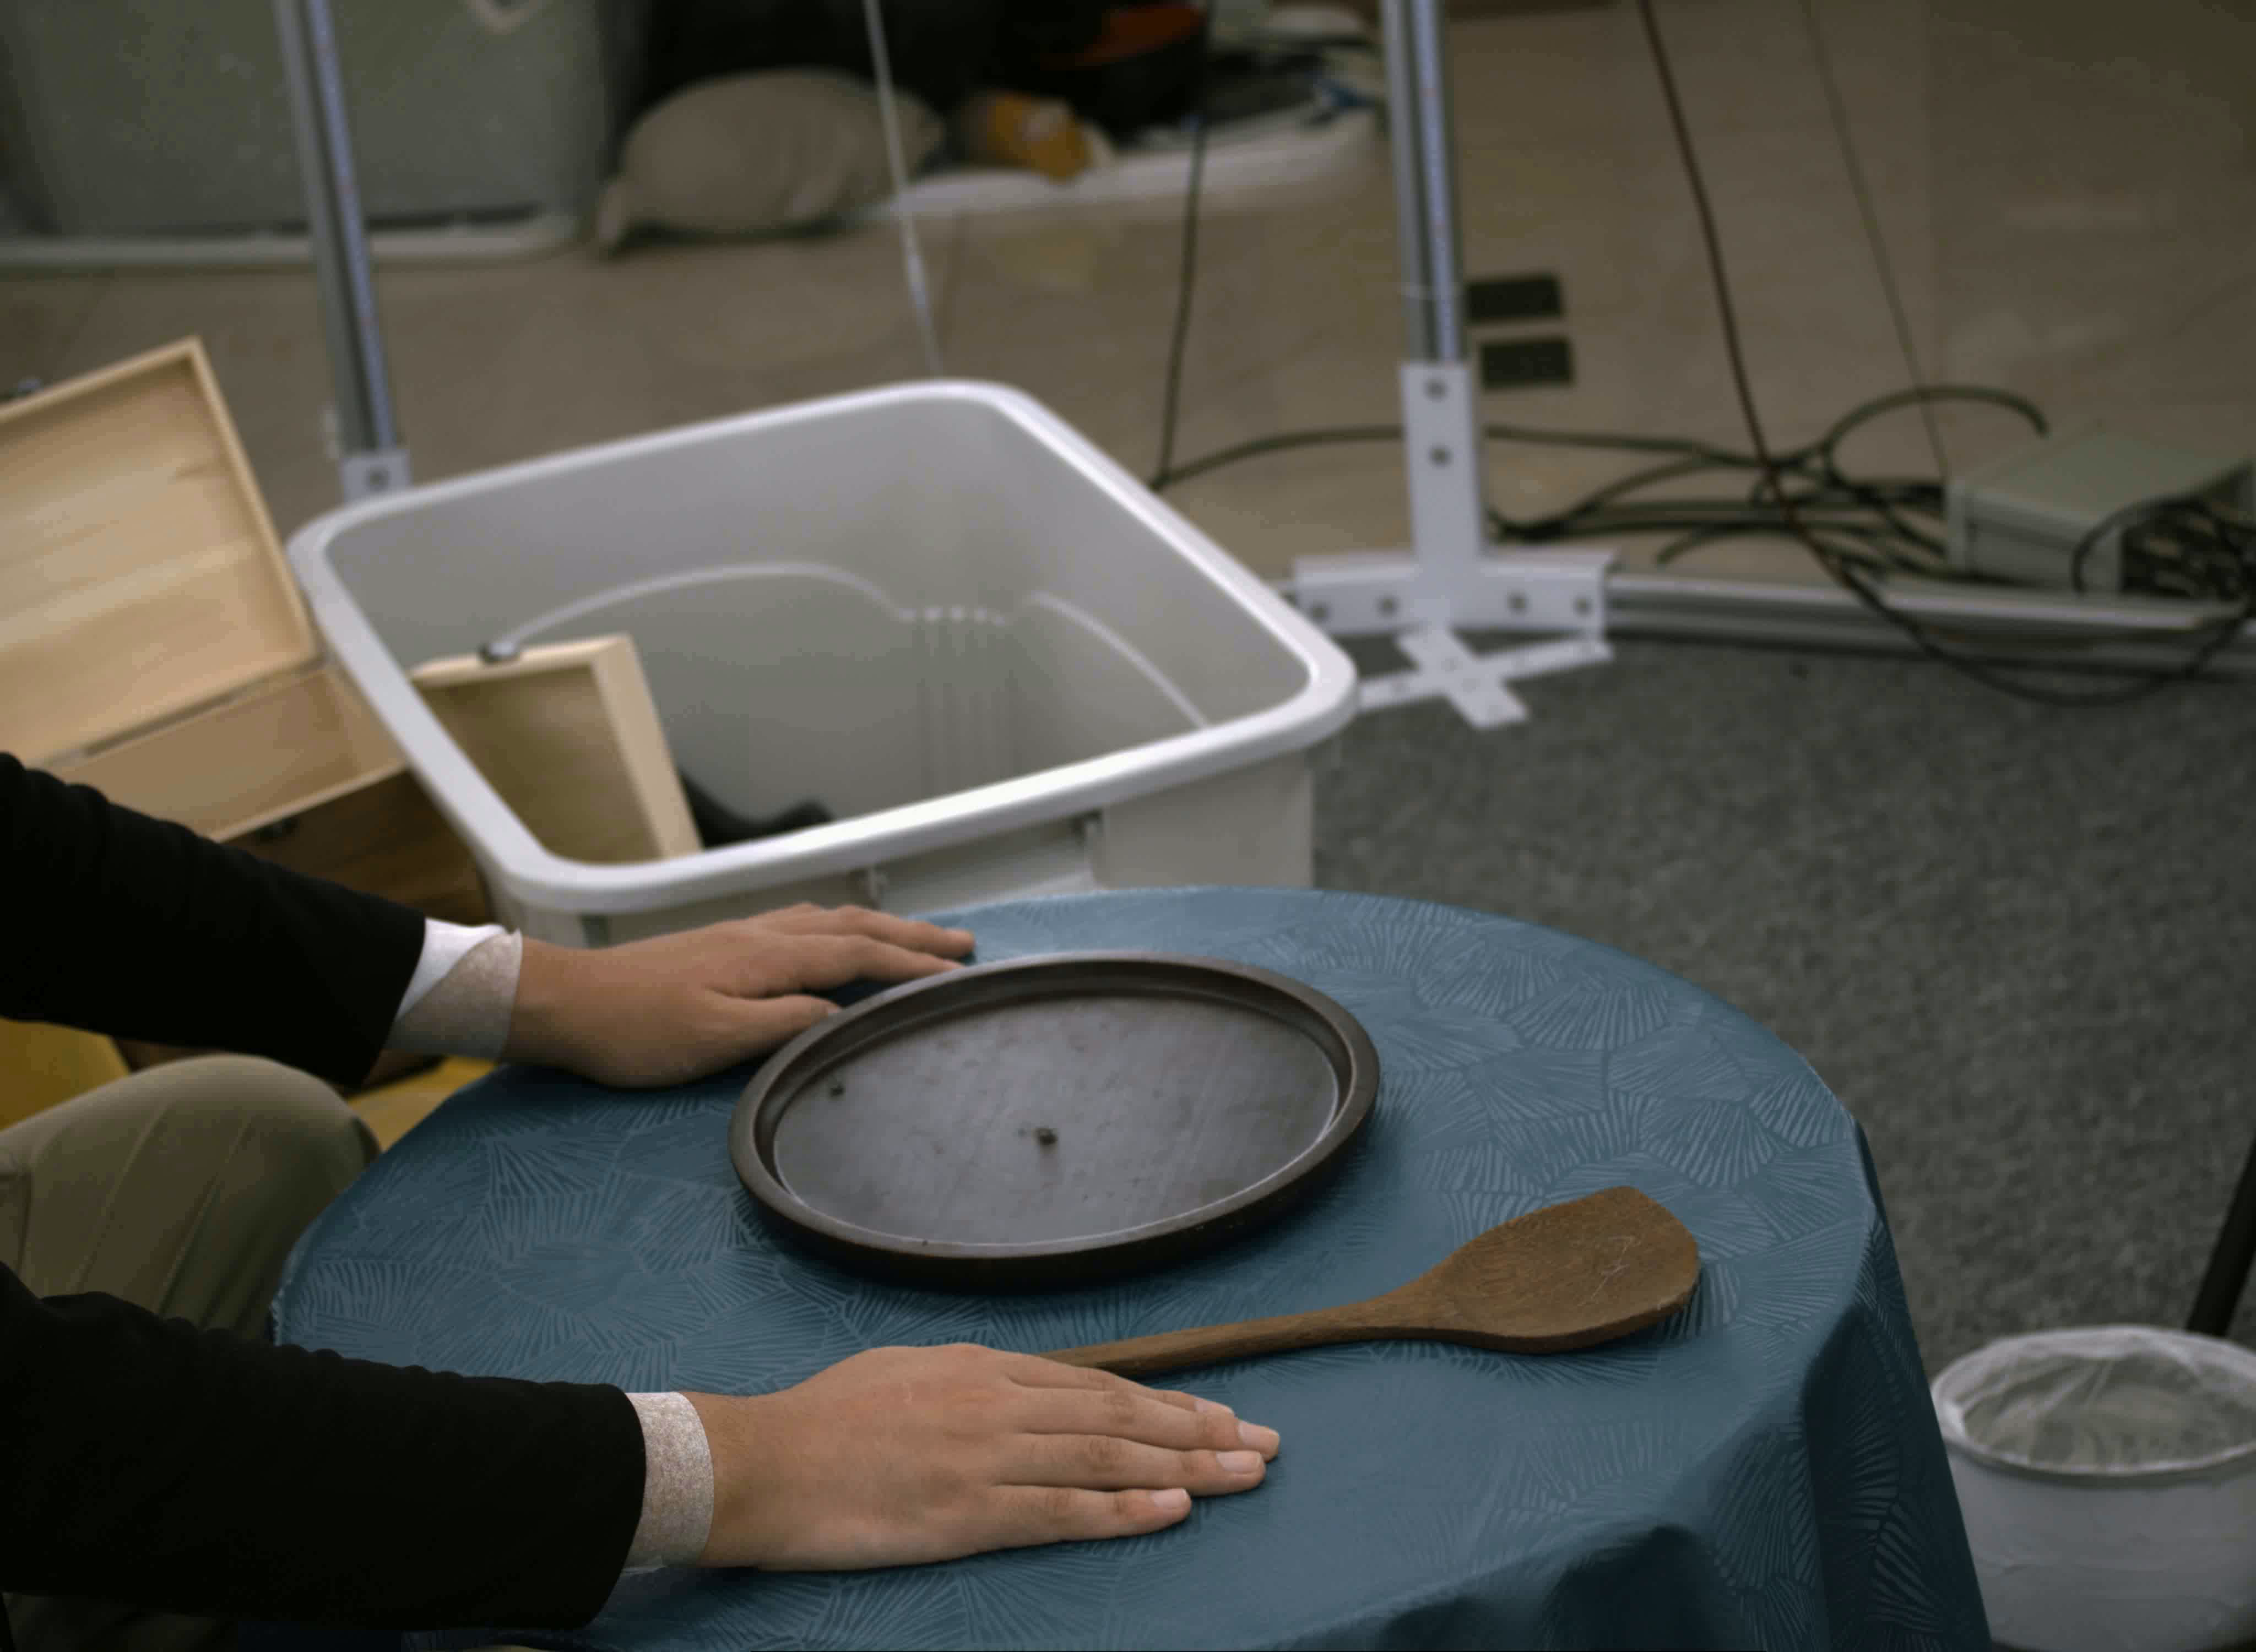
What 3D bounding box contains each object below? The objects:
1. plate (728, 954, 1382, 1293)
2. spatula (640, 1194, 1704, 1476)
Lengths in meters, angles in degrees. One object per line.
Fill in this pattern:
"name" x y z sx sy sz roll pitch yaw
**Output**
"plate" -0.027 0.112 2.183 0.254 0.029 0.251 -5 26 3
"spatula" 0.015 0.187 2.024 0.385 0.016 0.095 -10 24 -7
